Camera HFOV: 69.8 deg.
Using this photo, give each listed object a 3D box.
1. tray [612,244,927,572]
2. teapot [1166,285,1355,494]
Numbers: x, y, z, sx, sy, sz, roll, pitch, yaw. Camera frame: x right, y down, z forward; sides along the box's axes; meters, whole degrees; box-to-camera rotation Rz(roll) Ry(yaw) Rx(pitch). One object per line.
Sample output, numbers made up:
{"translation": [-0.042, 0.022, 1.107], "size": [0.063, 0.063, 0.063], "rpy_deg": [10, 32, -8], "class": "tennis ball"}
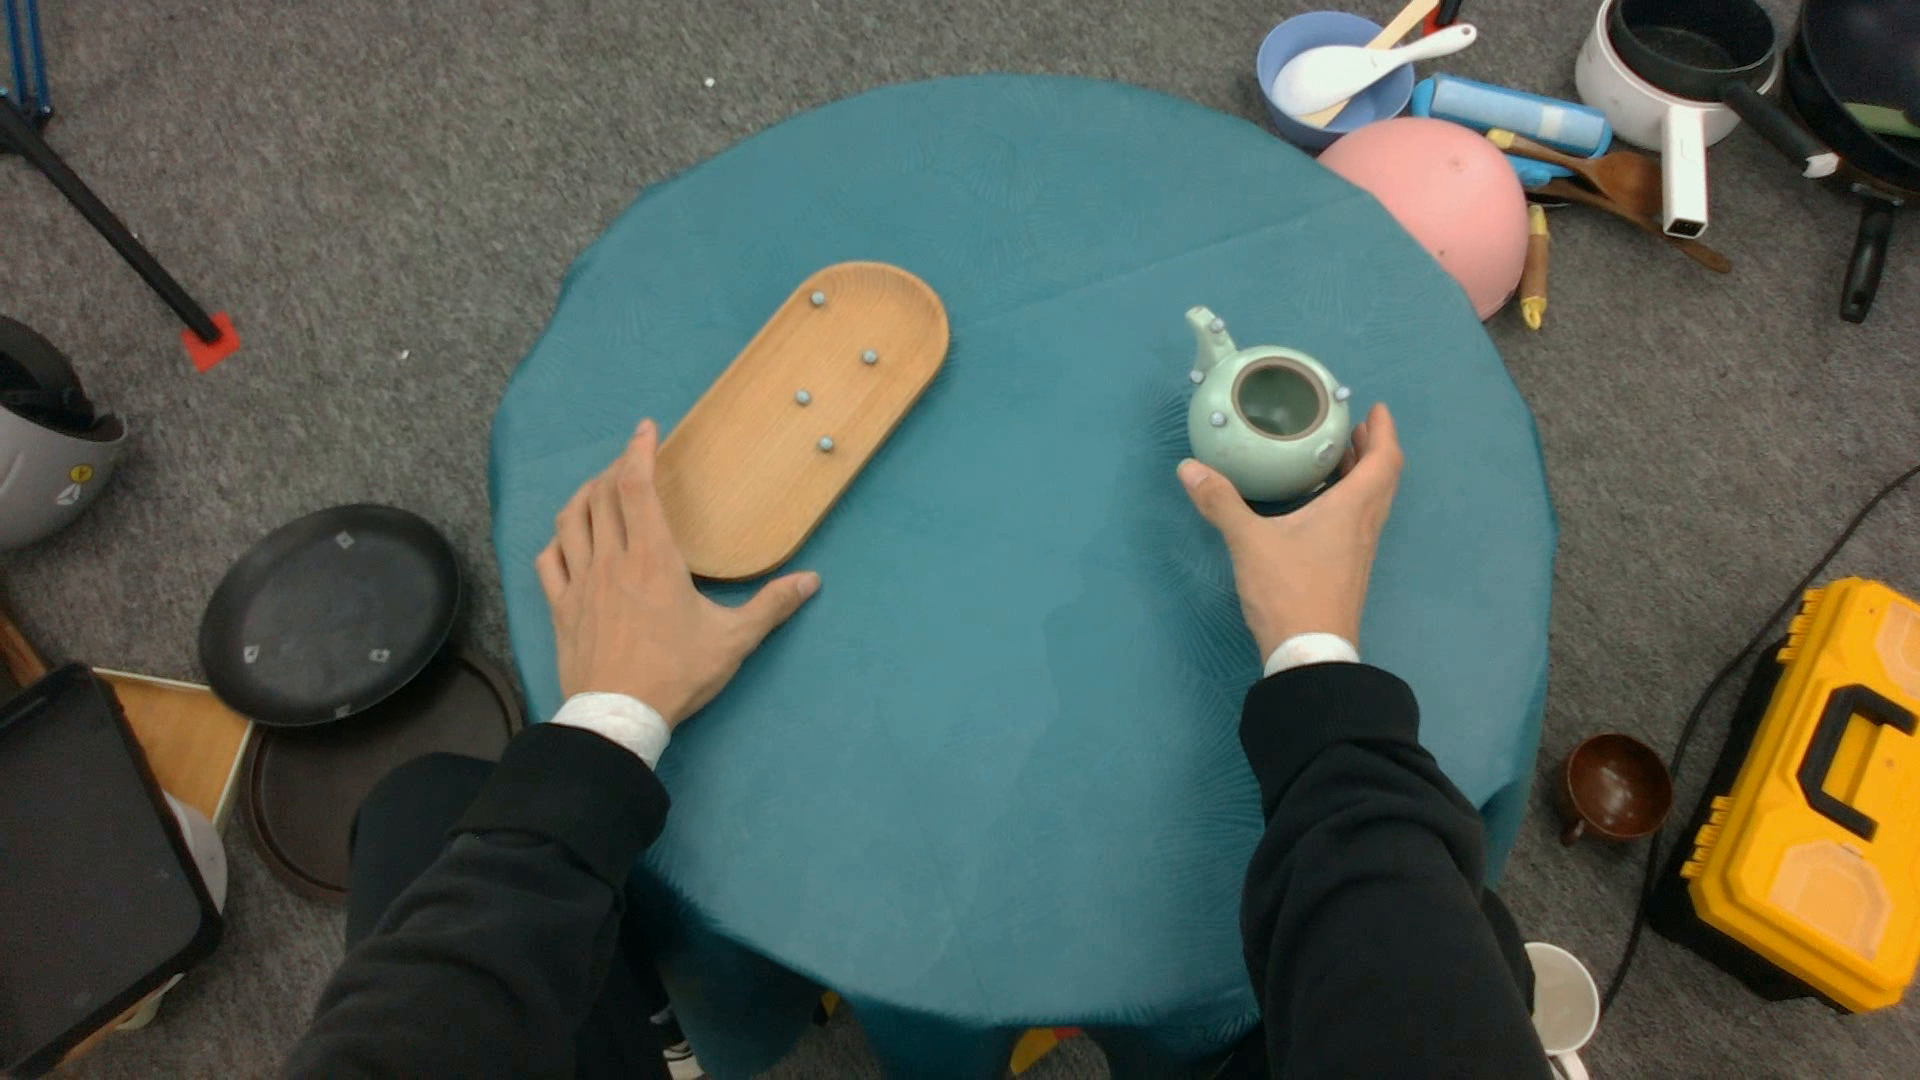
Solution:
{"translation": [-0.106, -0.079, 0.789], "size": [0.101, 0.020, 0.232], "rpy_deg": [31, 70, 12], "class": "tray"}
{"translation": [0.160, -0.076, 0.768], "size": [0.088, 0.074, 0.144], "rpy_deg": [-34, 71, -15], "class": "teapot"}
